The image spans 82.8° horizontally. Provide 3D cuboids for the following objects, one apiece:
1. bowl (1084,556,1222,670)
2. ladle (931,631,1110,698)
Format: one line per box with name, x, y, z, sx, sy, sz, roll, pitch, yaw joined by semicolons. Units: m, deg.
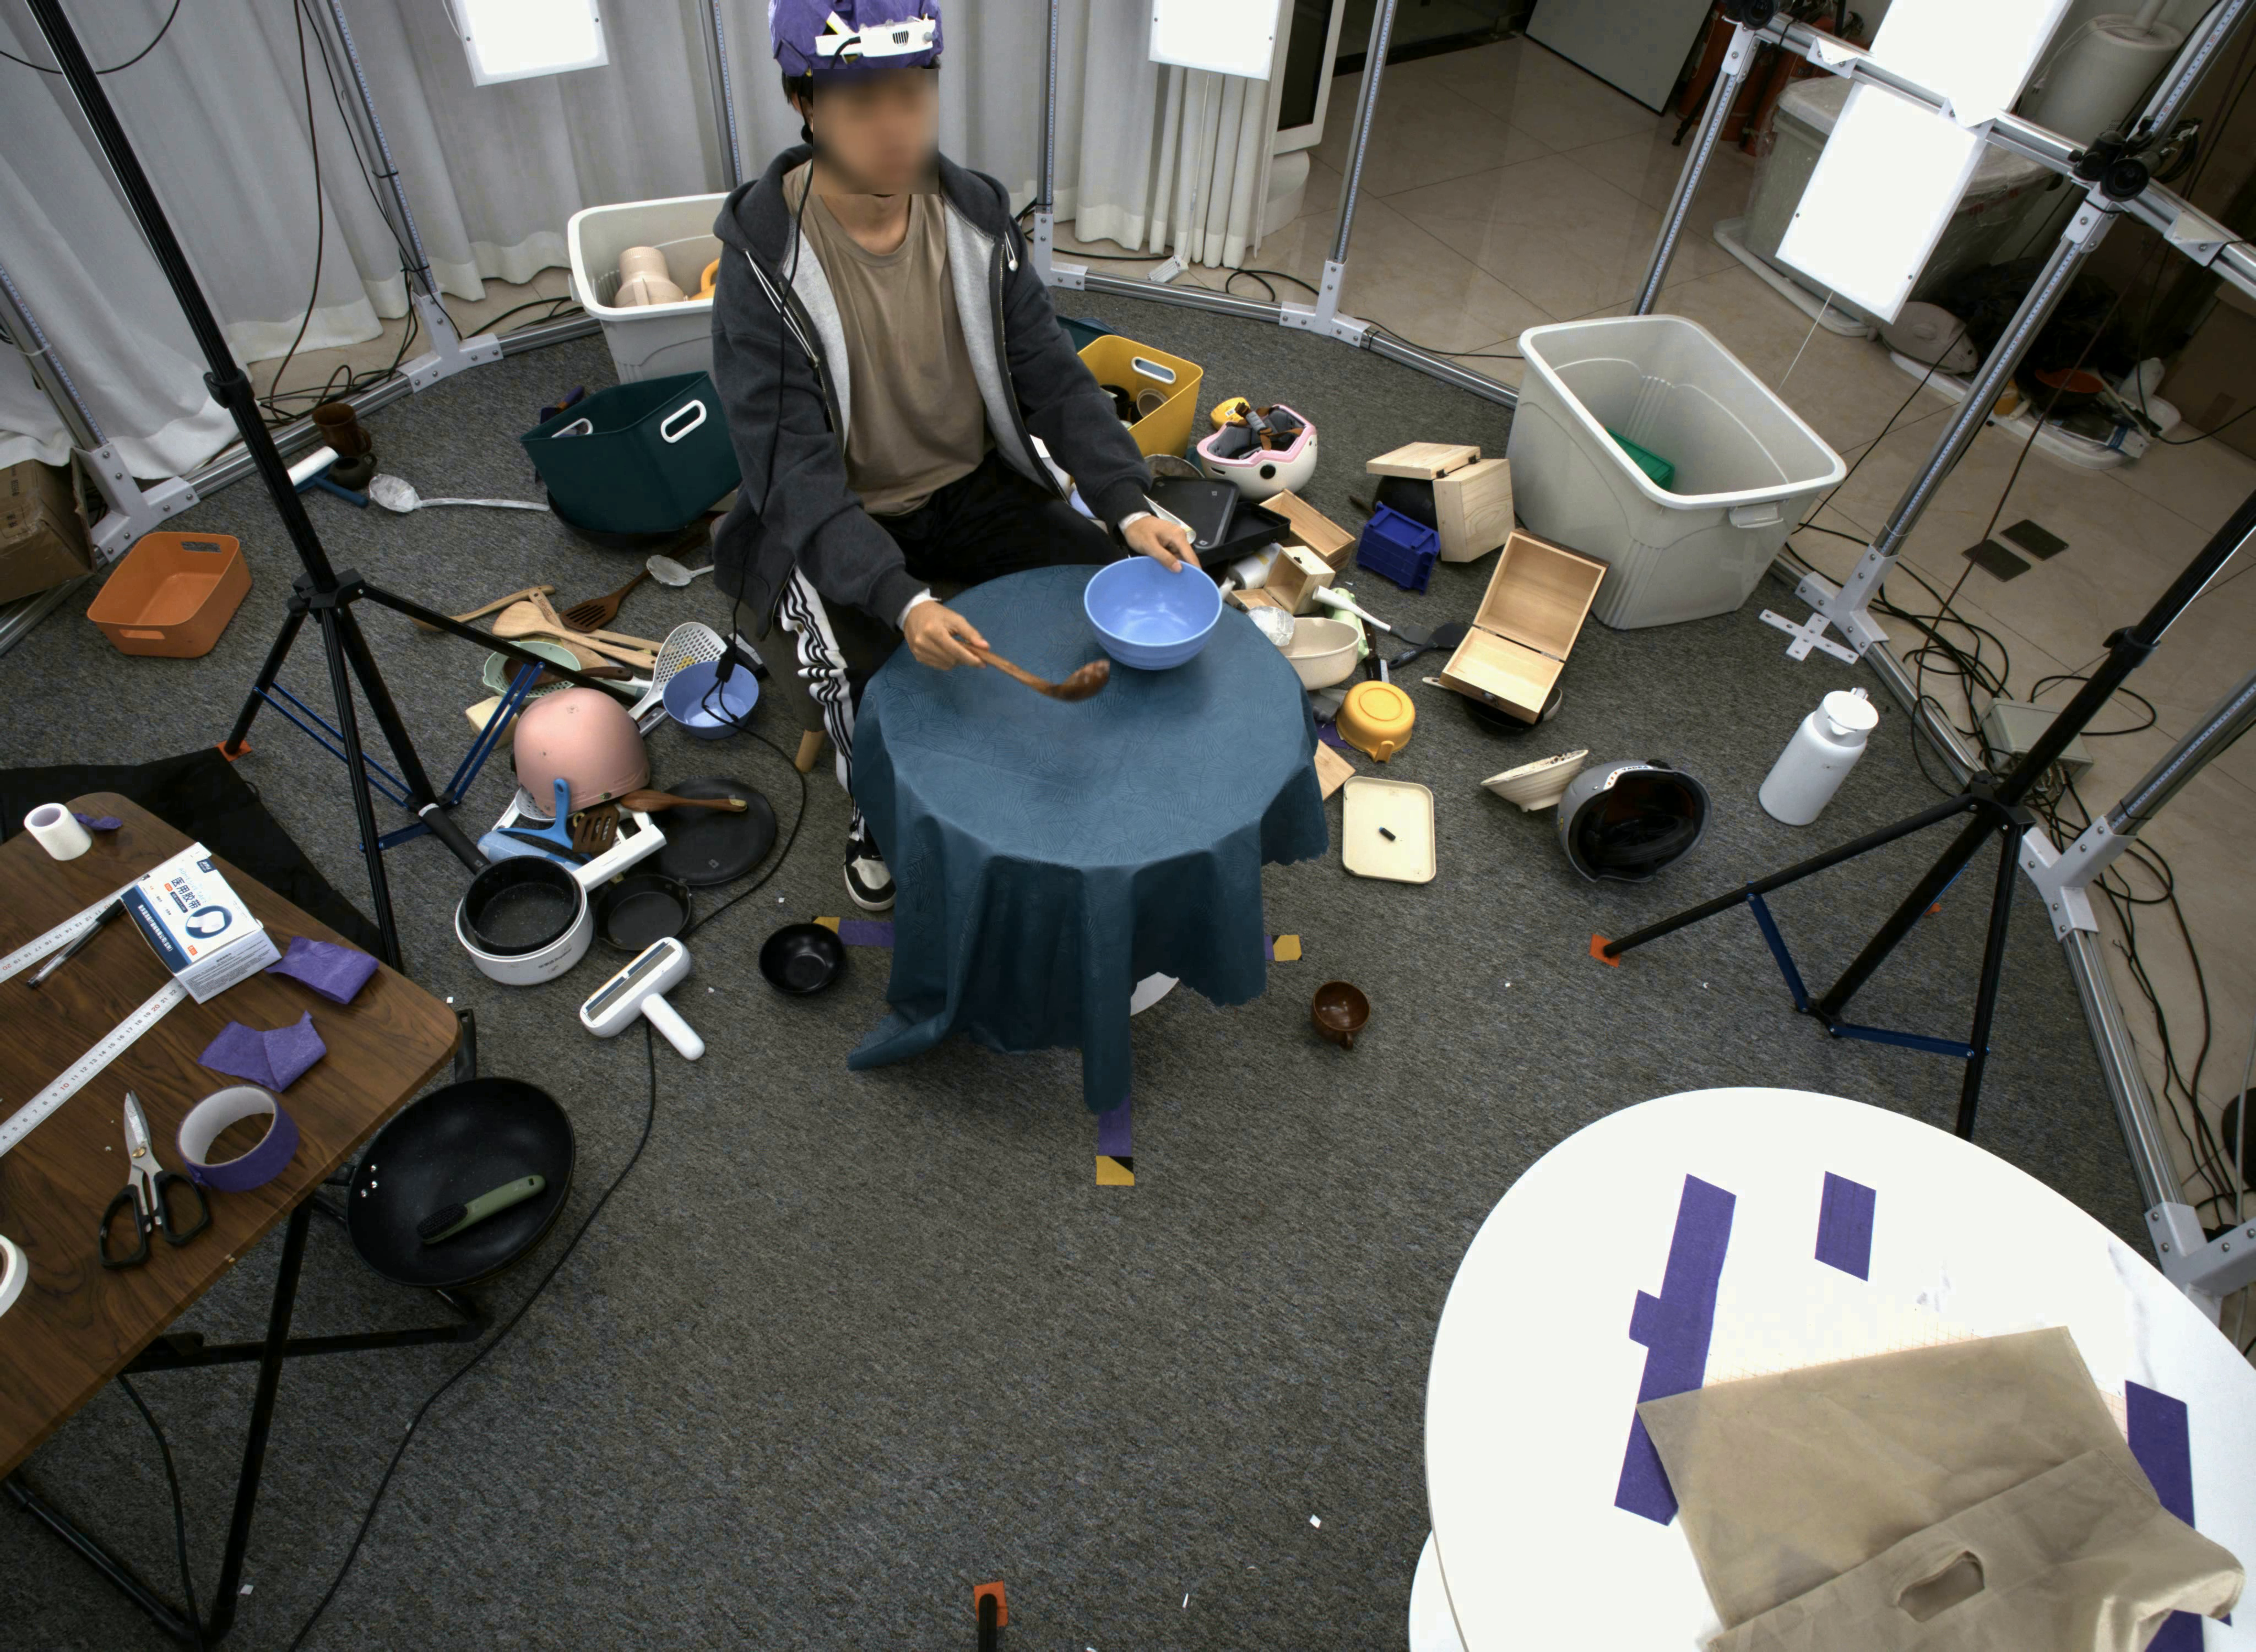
bowl;0.035;-0.292;1.854;0.196;0.093;0.201;0;48;-1
ladle;-0.148;-0.239;1.720;0.277;0.076;0.082;27;16;25
